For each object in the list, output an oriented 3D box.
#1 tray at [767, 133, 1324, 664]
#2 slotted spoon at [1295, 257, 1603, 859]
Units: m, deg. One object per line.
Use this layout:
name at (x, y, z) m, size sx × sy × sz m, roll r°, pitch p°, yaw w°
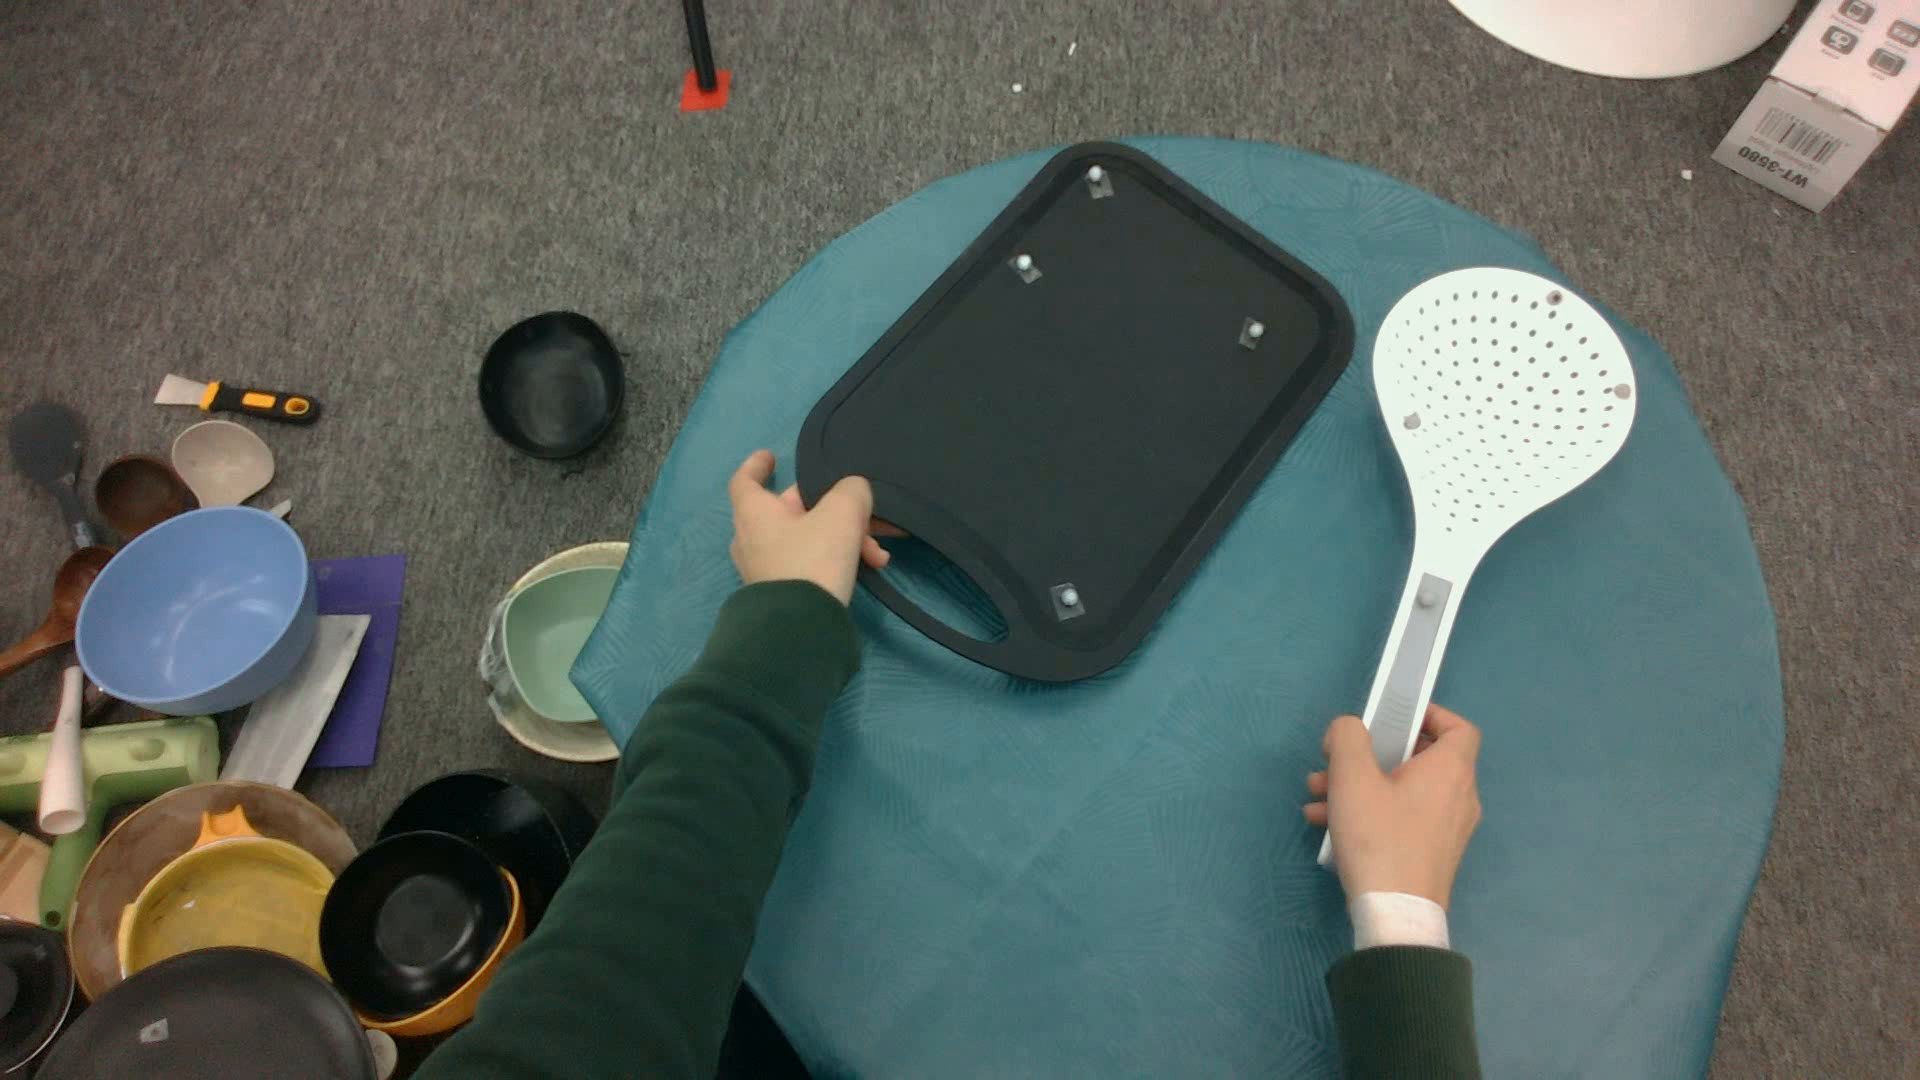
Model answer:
tray at (0.051, -0.085, 0.745) m, size 0.211 × 0.010 × 0.327 m, roll 36°, pitch 65°, yaw 8°
slotted spoon at (0.235, -0.003, 0.704) m, size 0.136 × 0.045 × 0.351 m, roll 20°, pitch 62°, yaw 10°
